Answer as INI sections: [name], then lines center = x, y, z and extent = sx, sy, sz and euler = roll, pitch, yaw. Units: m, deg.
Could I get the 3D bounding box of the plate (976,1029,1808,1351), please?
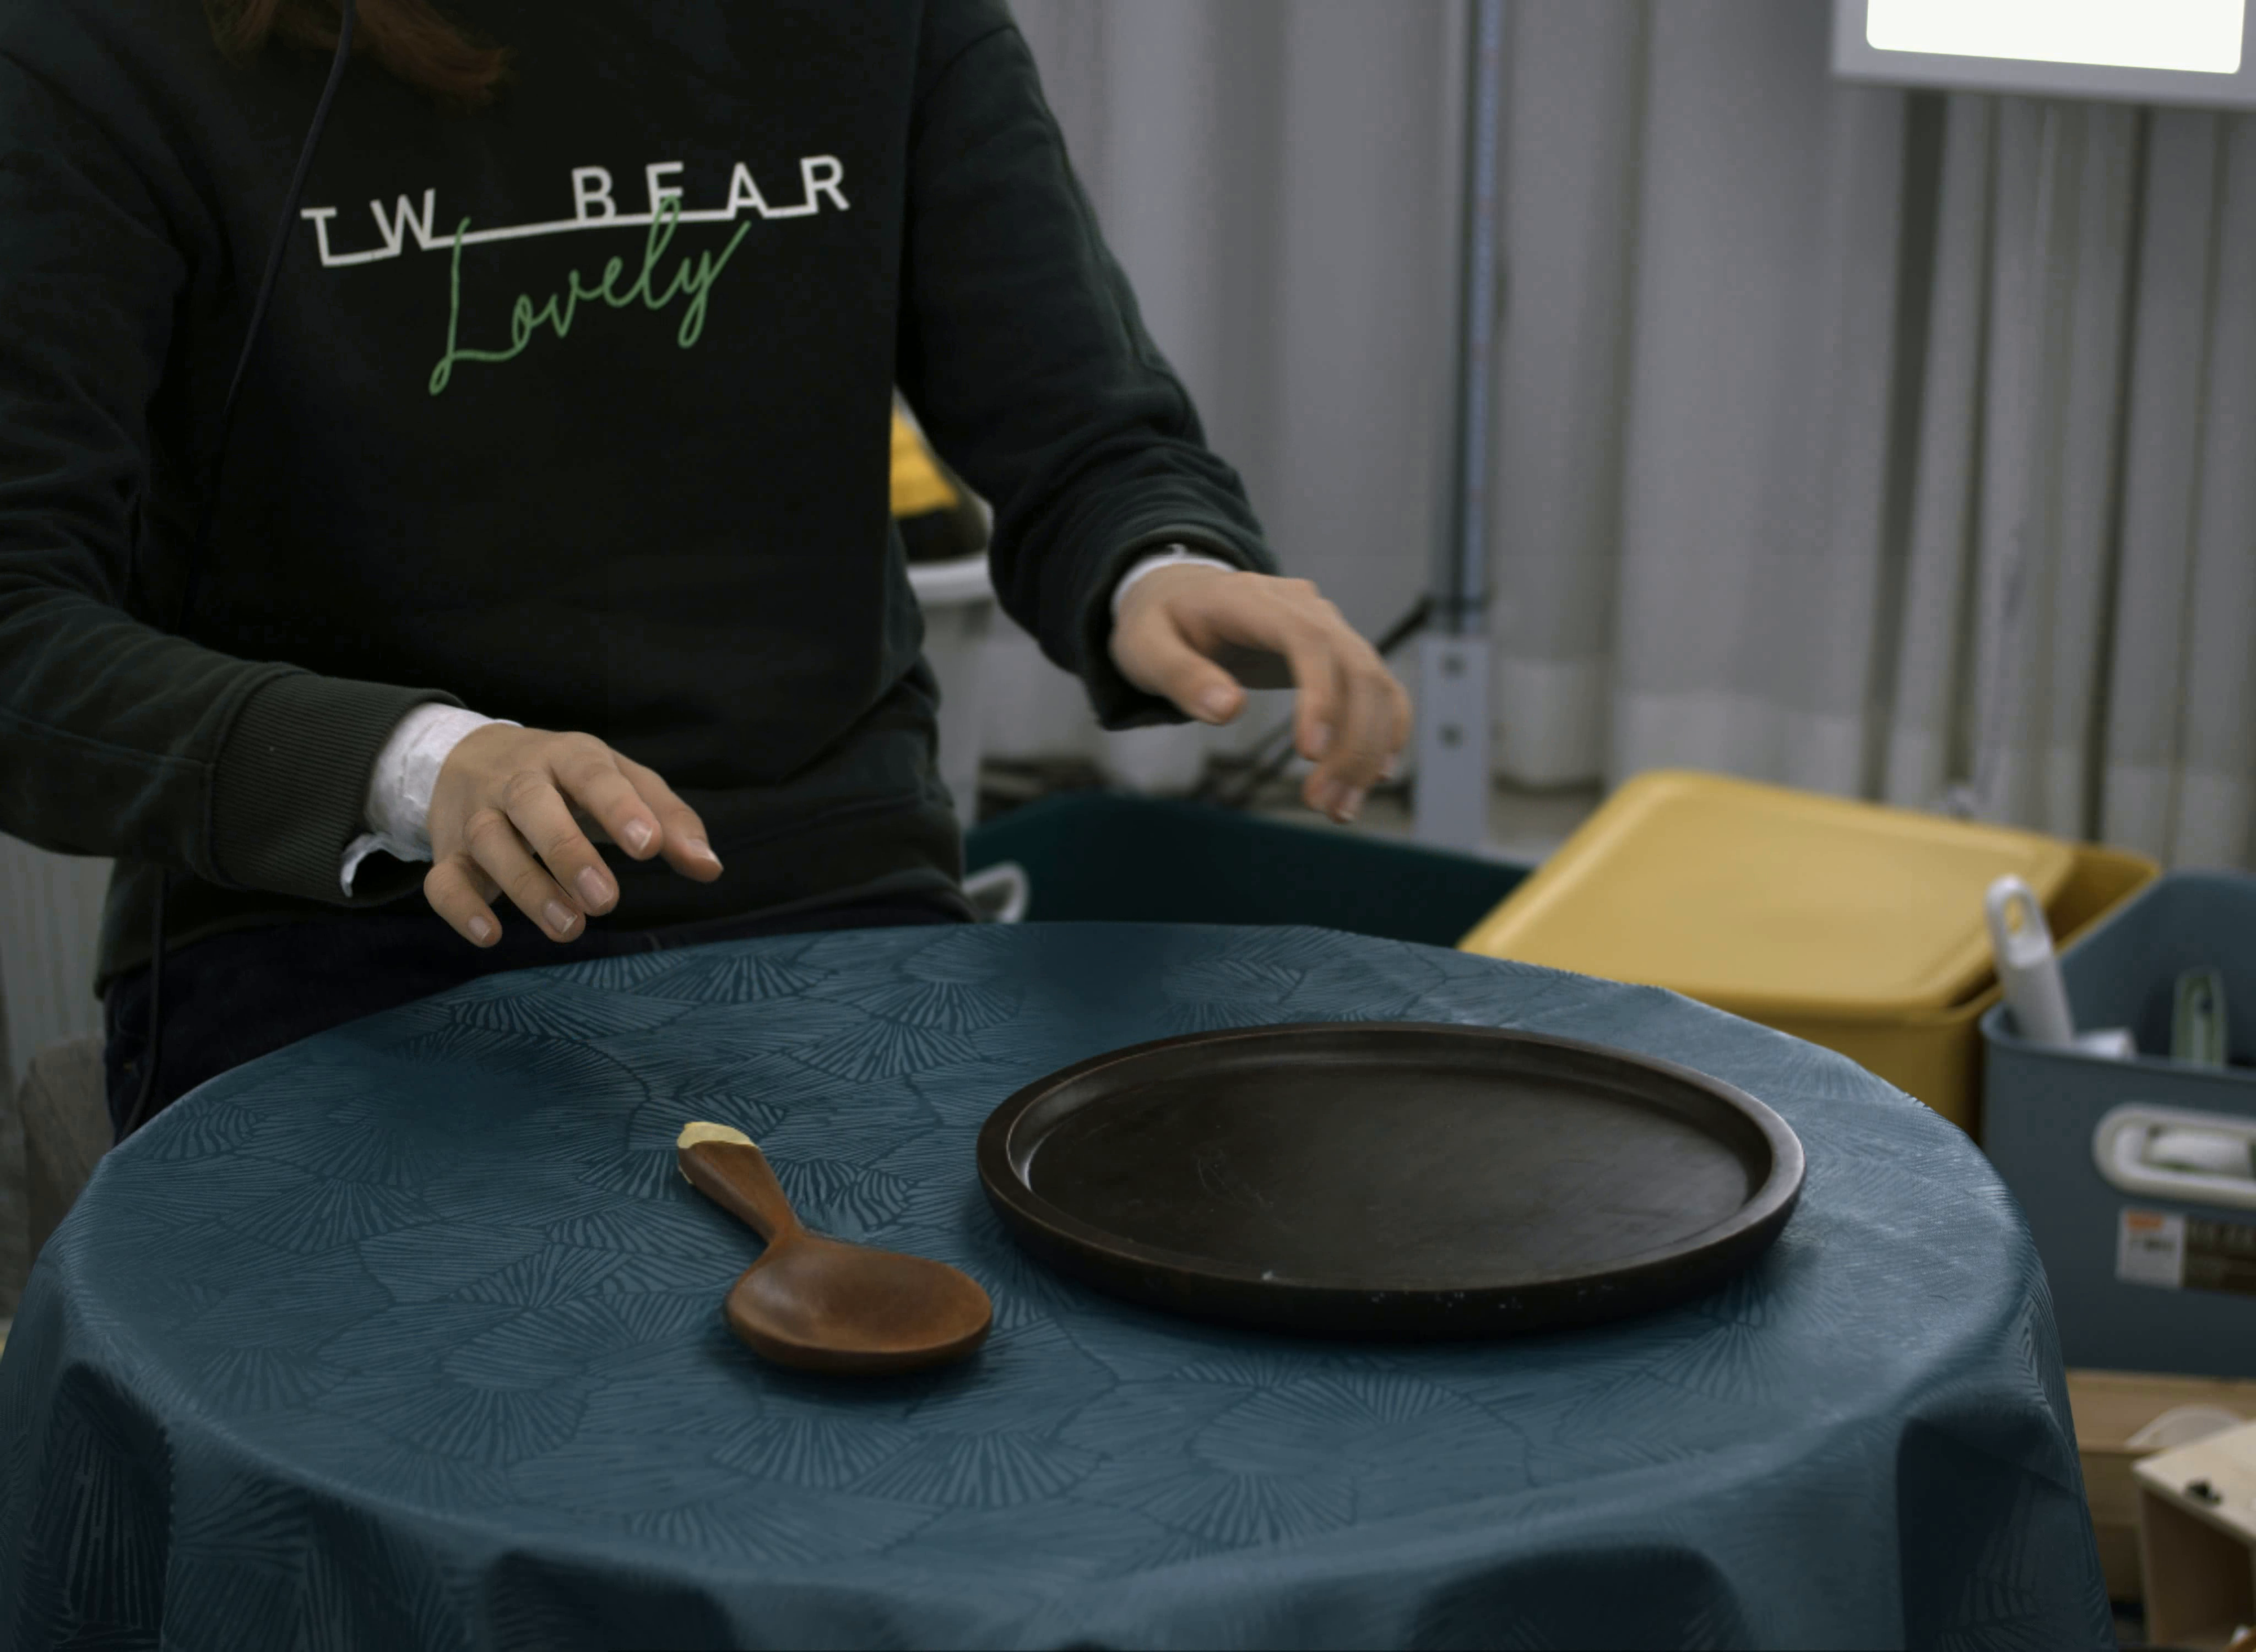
[plate]
center = 0.080, 0.108, 1.607
extent = 0.254, 0.029, 0.253
euler = 2, 17, 0

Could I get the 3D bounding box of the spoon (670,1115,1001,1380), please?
[spoon]
center = -0.096, 0.124, 1.549
extent = 0.075, 0.017, 0.213
euler = -5, 17, -19
